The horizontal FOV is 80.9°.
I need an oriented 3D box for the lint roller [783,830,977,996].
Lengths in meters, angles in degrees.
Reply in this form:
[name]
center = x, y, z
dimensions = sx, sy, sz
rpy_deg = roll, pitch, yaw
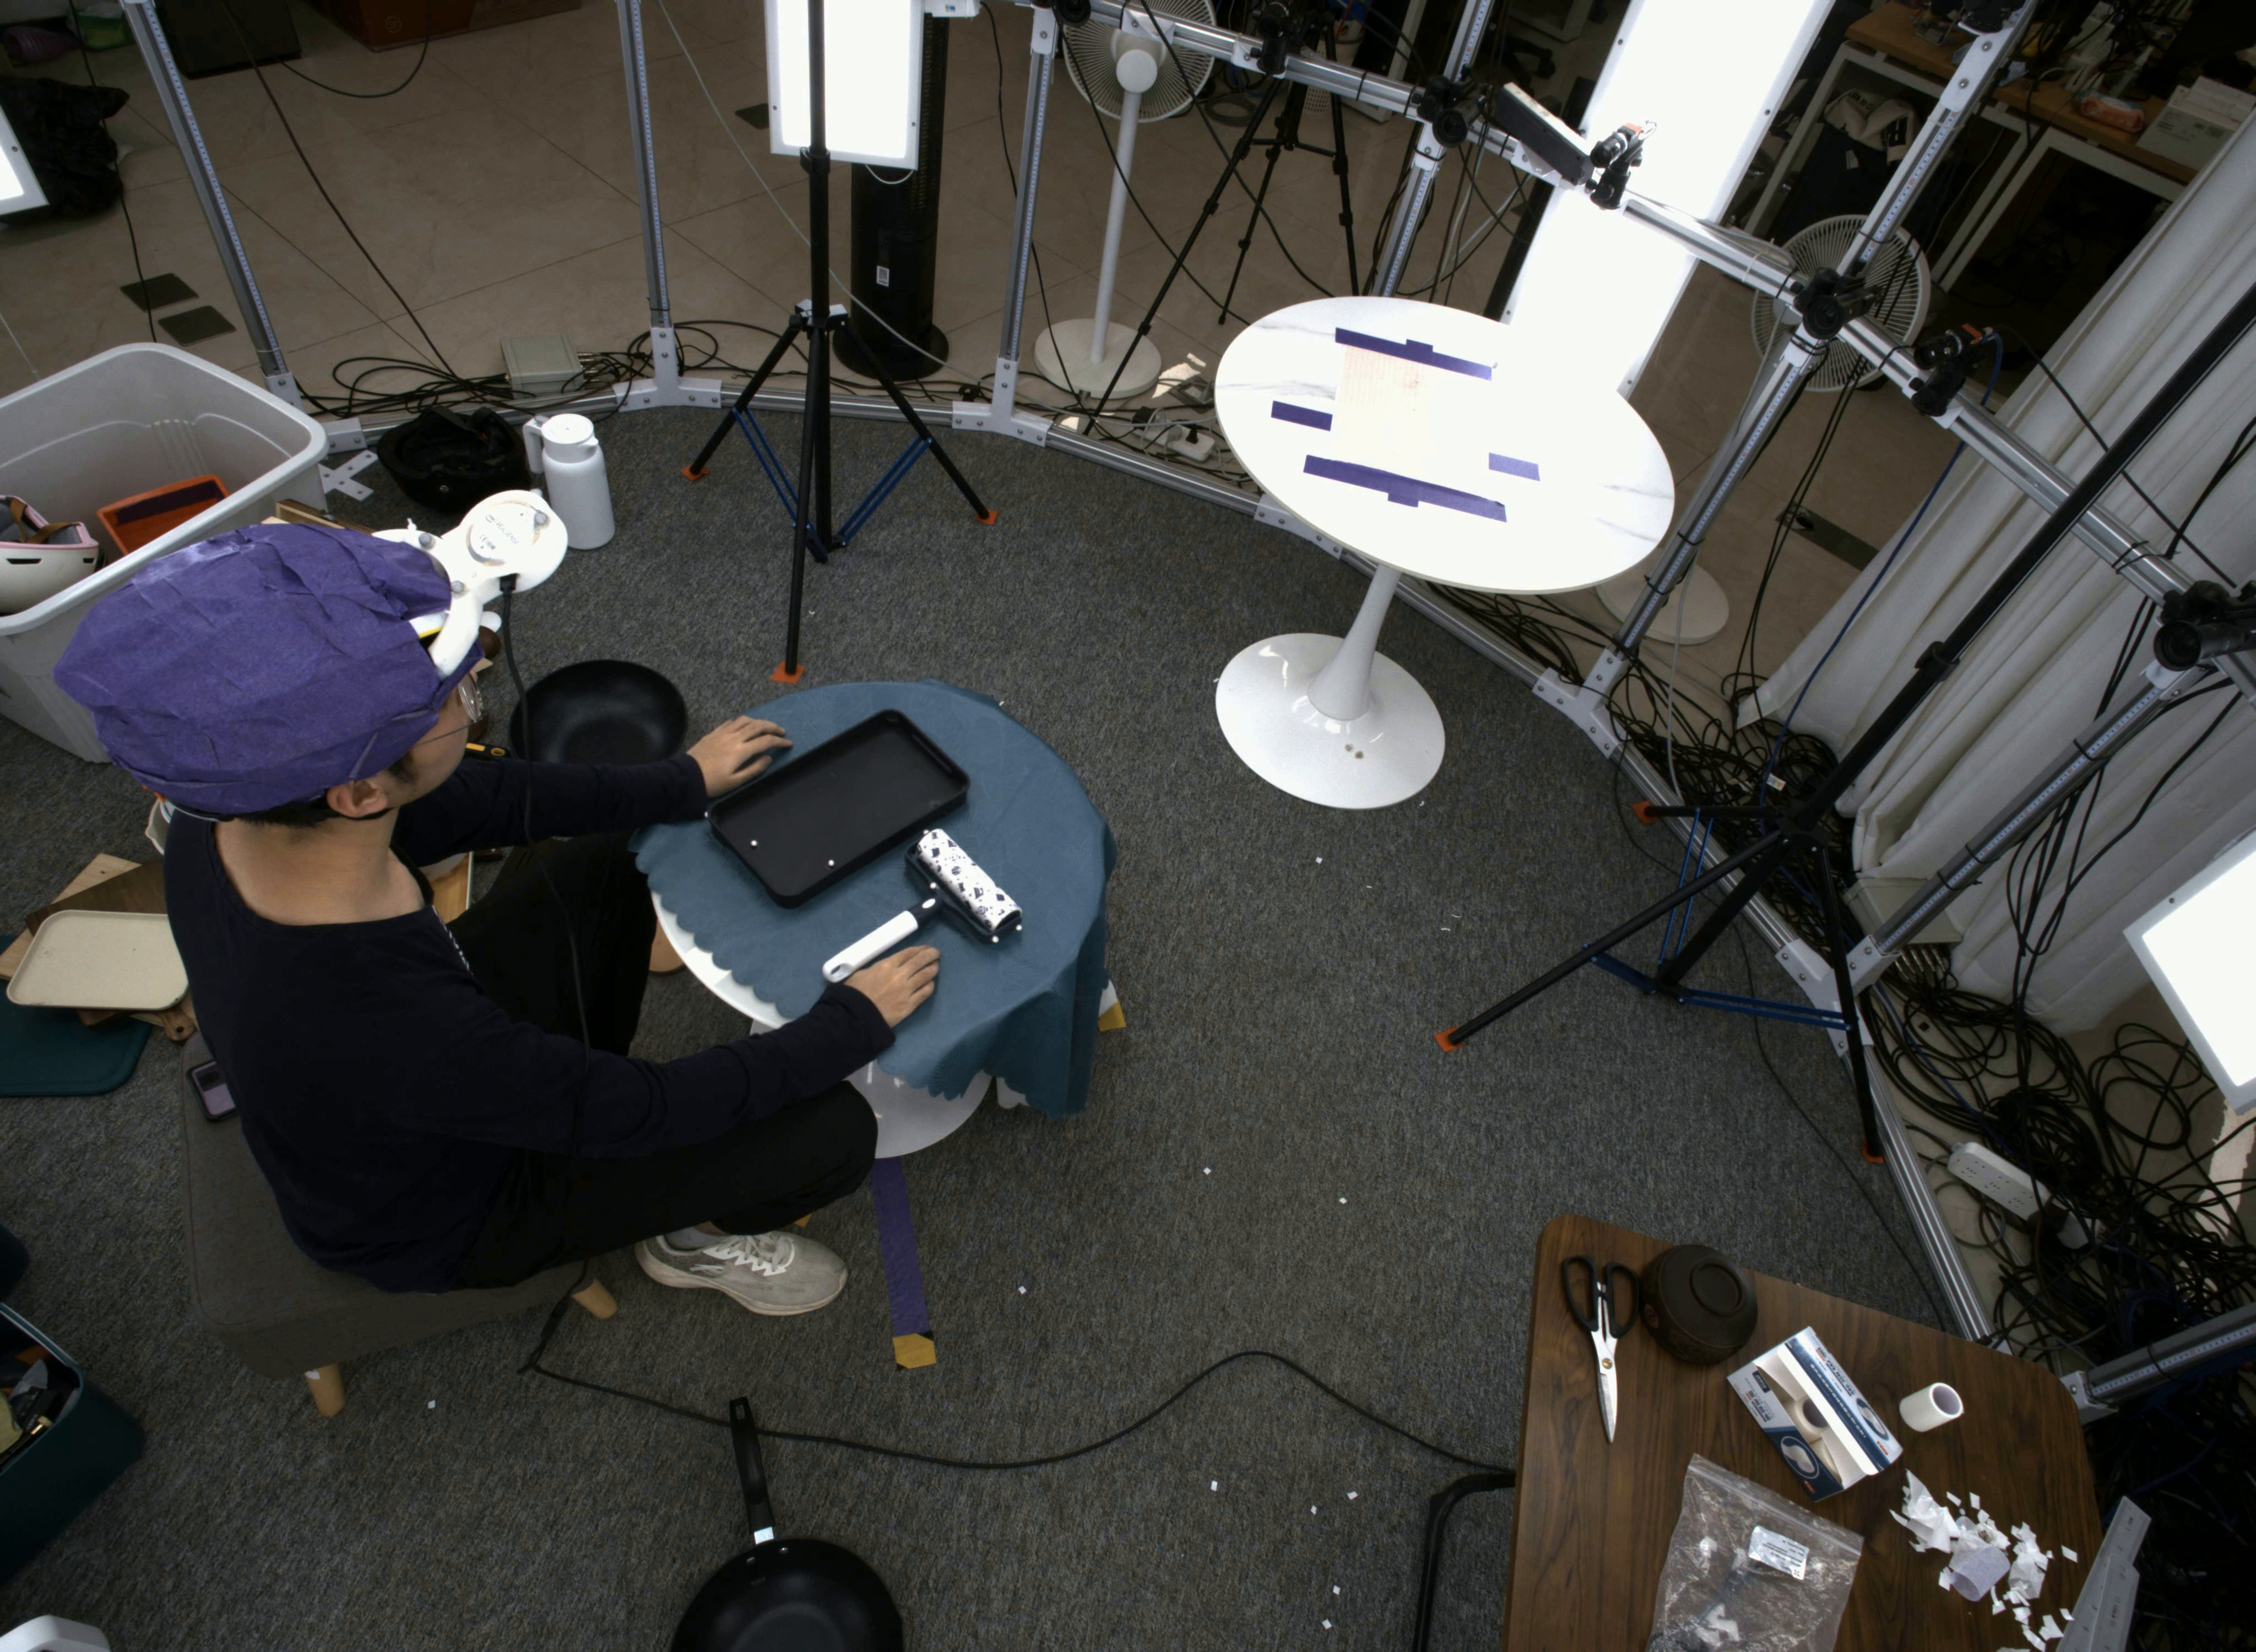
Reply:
[lint roller]
center = -0.333, 0.126, 1.639
dimensions = 0.173, 0.051, 0.247
rpy_deg = 41, 58, 15

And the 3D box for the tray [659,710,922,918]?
[tray]
center = -0.445, -0.024, 1.724
dimensions = 0.180, 0.038, 0.318
rpy_deg = 41, 55, 17
